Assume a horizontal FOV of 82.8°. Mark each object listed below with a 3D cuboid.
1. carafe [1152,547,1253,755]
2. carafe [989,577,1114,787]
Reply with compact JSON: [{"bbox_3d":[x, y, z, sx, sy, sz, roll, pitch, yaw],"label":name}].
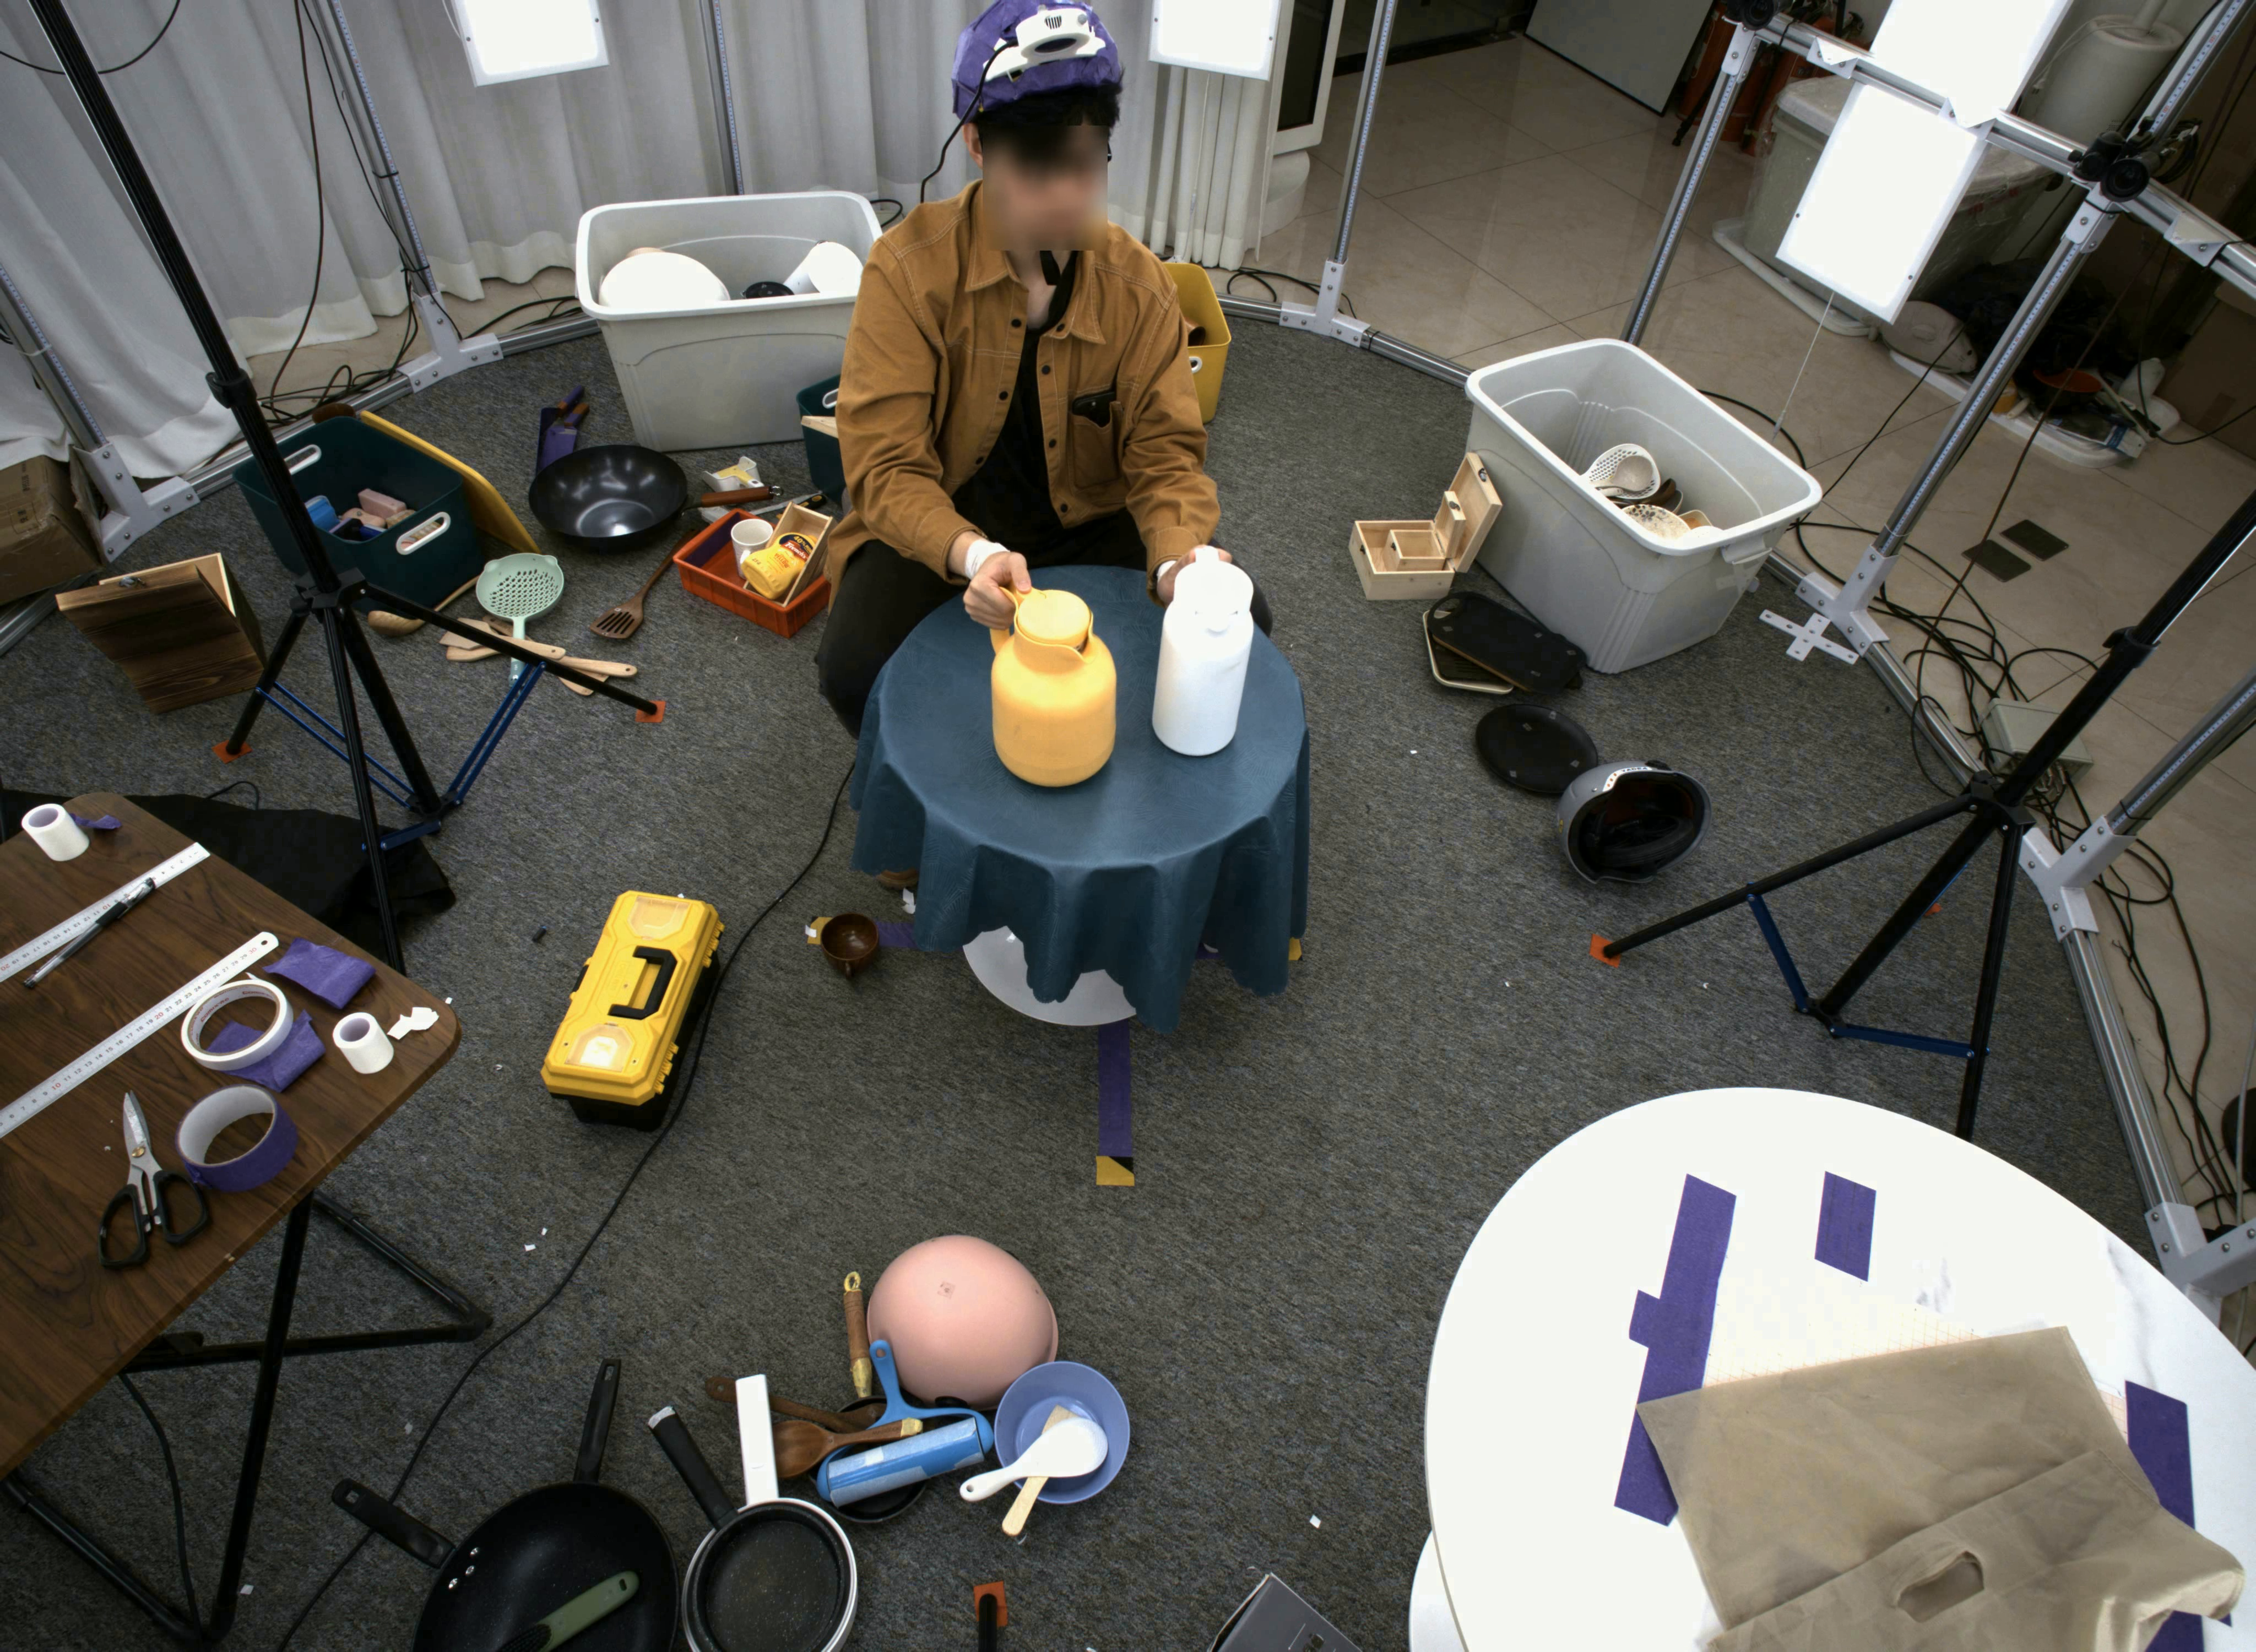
[{"bbox_3d":[0.095,-0.233,1.701,0.124,0.262,0.177,-2,52,-3],"label":"carafe"},{"bbox_3d":[-0.109,-0.194,1.659,0.164,0.254,0.206,-28,58,-26],"label":"carafe"}]
